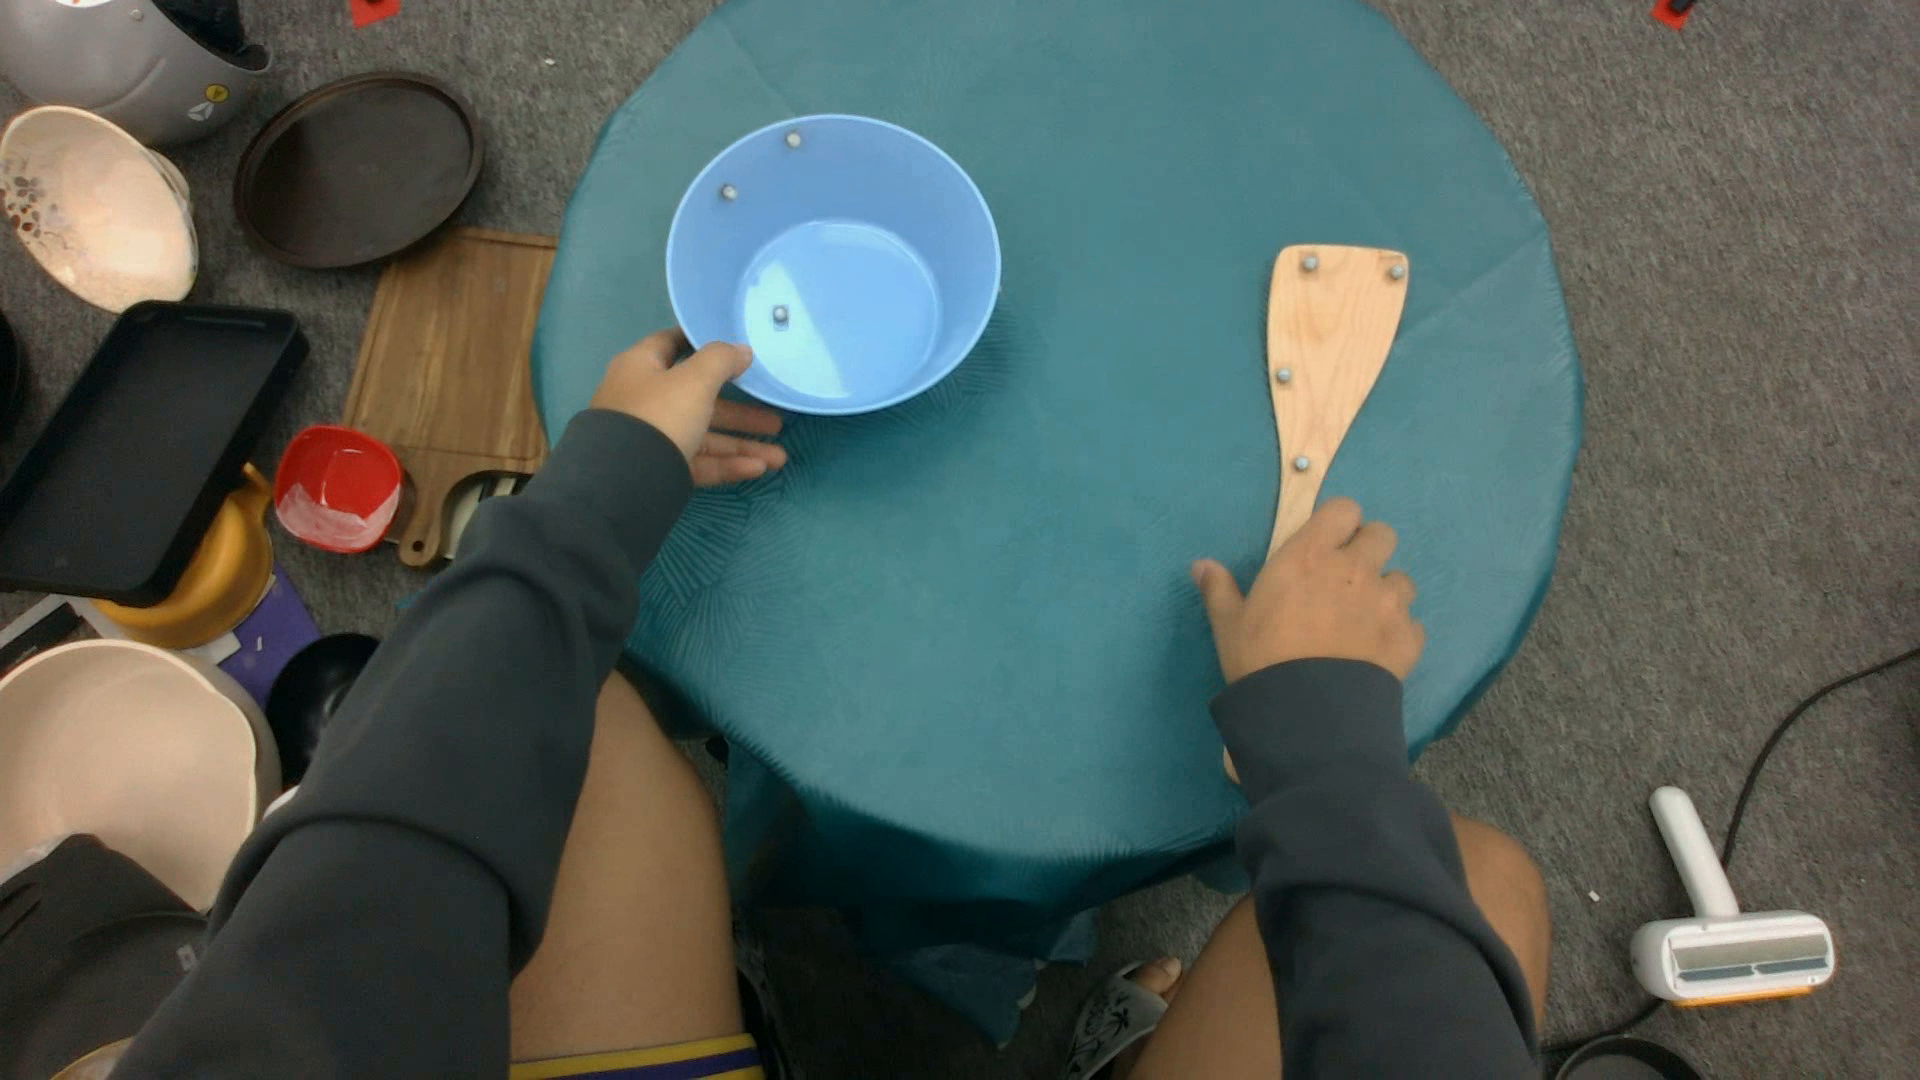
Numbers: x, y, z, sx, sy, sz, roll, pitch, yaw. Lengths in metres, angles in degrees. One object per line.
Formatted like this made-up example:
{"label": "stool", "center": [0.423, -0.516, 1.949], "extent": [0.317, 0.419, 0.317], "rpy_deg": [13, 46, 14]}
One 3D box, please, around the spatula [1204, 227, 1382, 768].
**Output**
{"label": "spatula", "center": [0.176, -0.034, 0.769], "extent": [0.080, 0.016, 0.328], "rpy_deg": [14, 72, 0]}

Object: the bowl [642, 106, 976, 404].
{"label": "bowl", "center": [-0.081, -0.144, 0.755], "extent": [0.176, 0.070, 0.176], "rpy_deg": [1, 72, -4]}
